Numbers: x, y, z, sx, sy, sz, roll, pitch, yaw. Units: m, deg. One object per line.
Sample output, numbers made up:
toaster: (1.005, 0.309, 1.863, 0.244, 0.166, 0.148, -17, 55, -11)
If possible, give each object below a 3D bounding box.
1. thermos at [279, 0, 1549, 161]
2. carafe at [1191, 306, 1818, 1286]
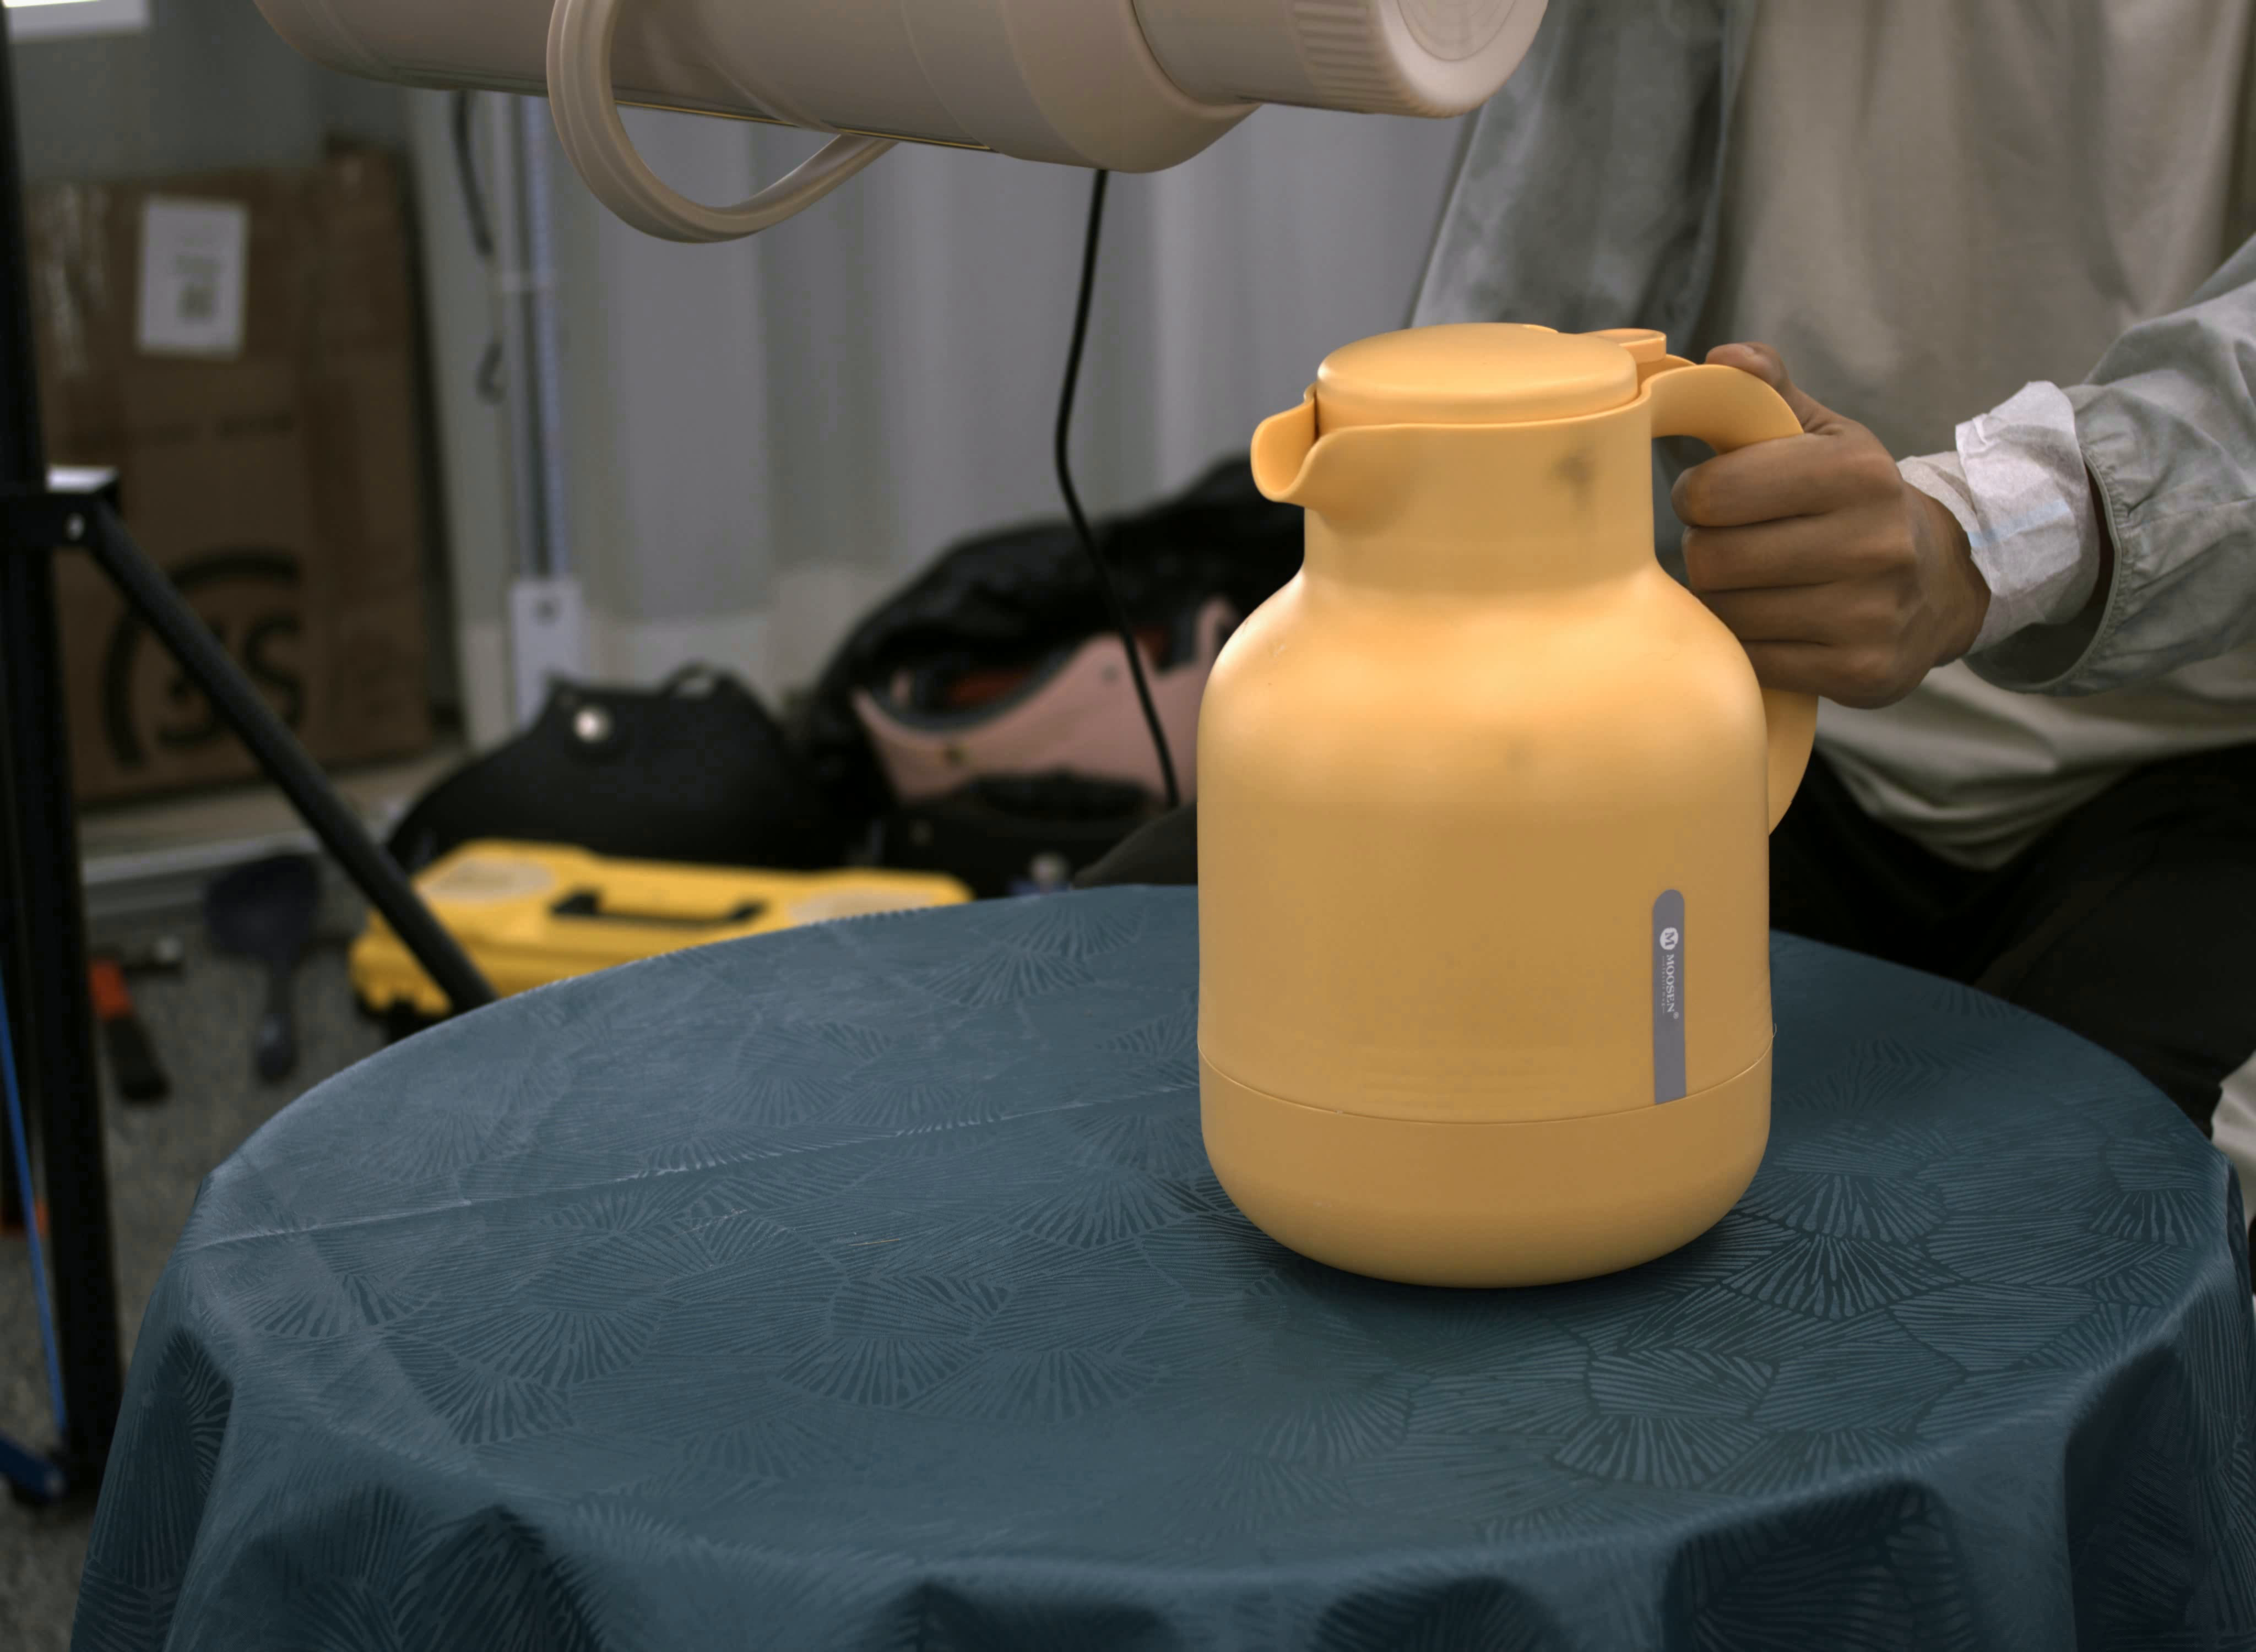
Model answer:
thermos: (-0.064, -0.295, 1.565, 0.415, 0.208, 0.171, 12, -6, 37)
carafe: (0.115, -0.015, 1.494, 0.198, 0.260, 0.167, -13, 21, -32)
